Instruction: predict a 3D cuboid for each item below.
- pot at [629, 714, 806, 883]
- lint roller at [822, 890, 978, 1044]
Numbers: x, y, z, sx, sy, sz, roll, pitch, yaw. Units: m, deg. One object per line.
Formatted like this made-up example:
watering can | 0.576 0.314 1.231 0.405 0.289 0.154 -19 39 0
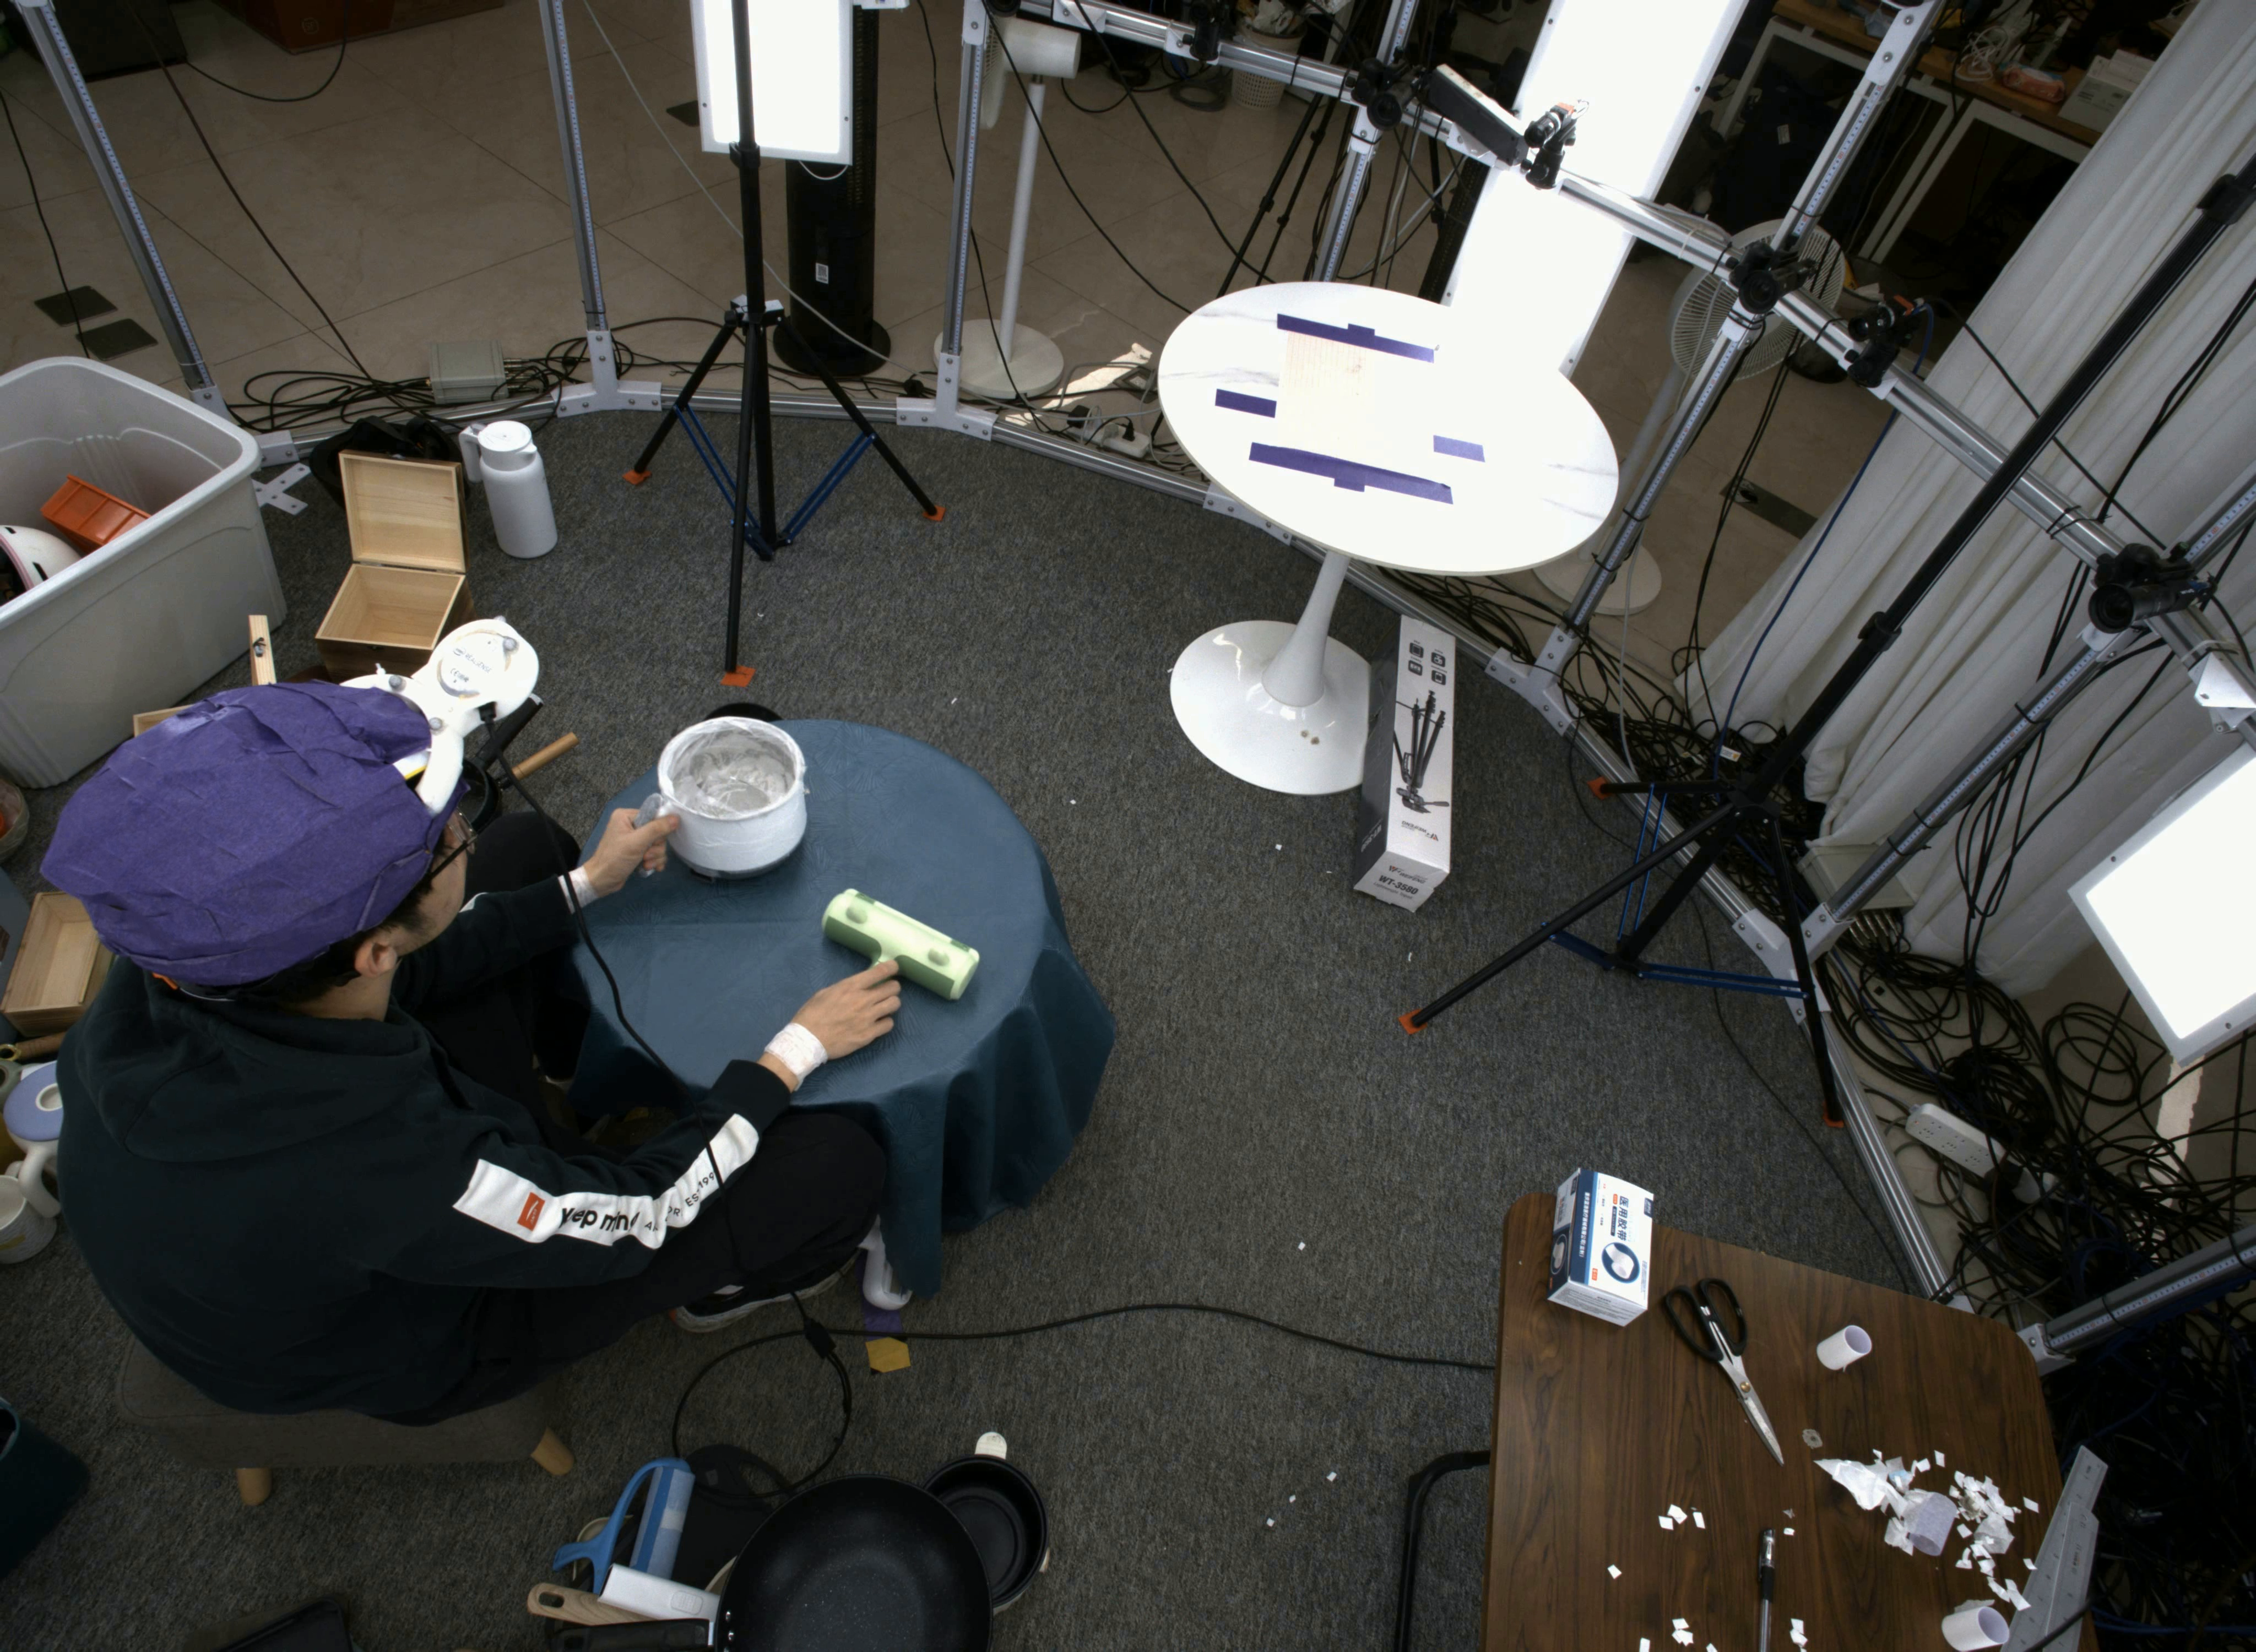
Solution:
pot | -0.520 -0.023 1.626 0.235 0.140 0.174 -29 61 -33
lint roller | -0.307 0.177 1.580 0.196 0.084 0.182 27 48 6
